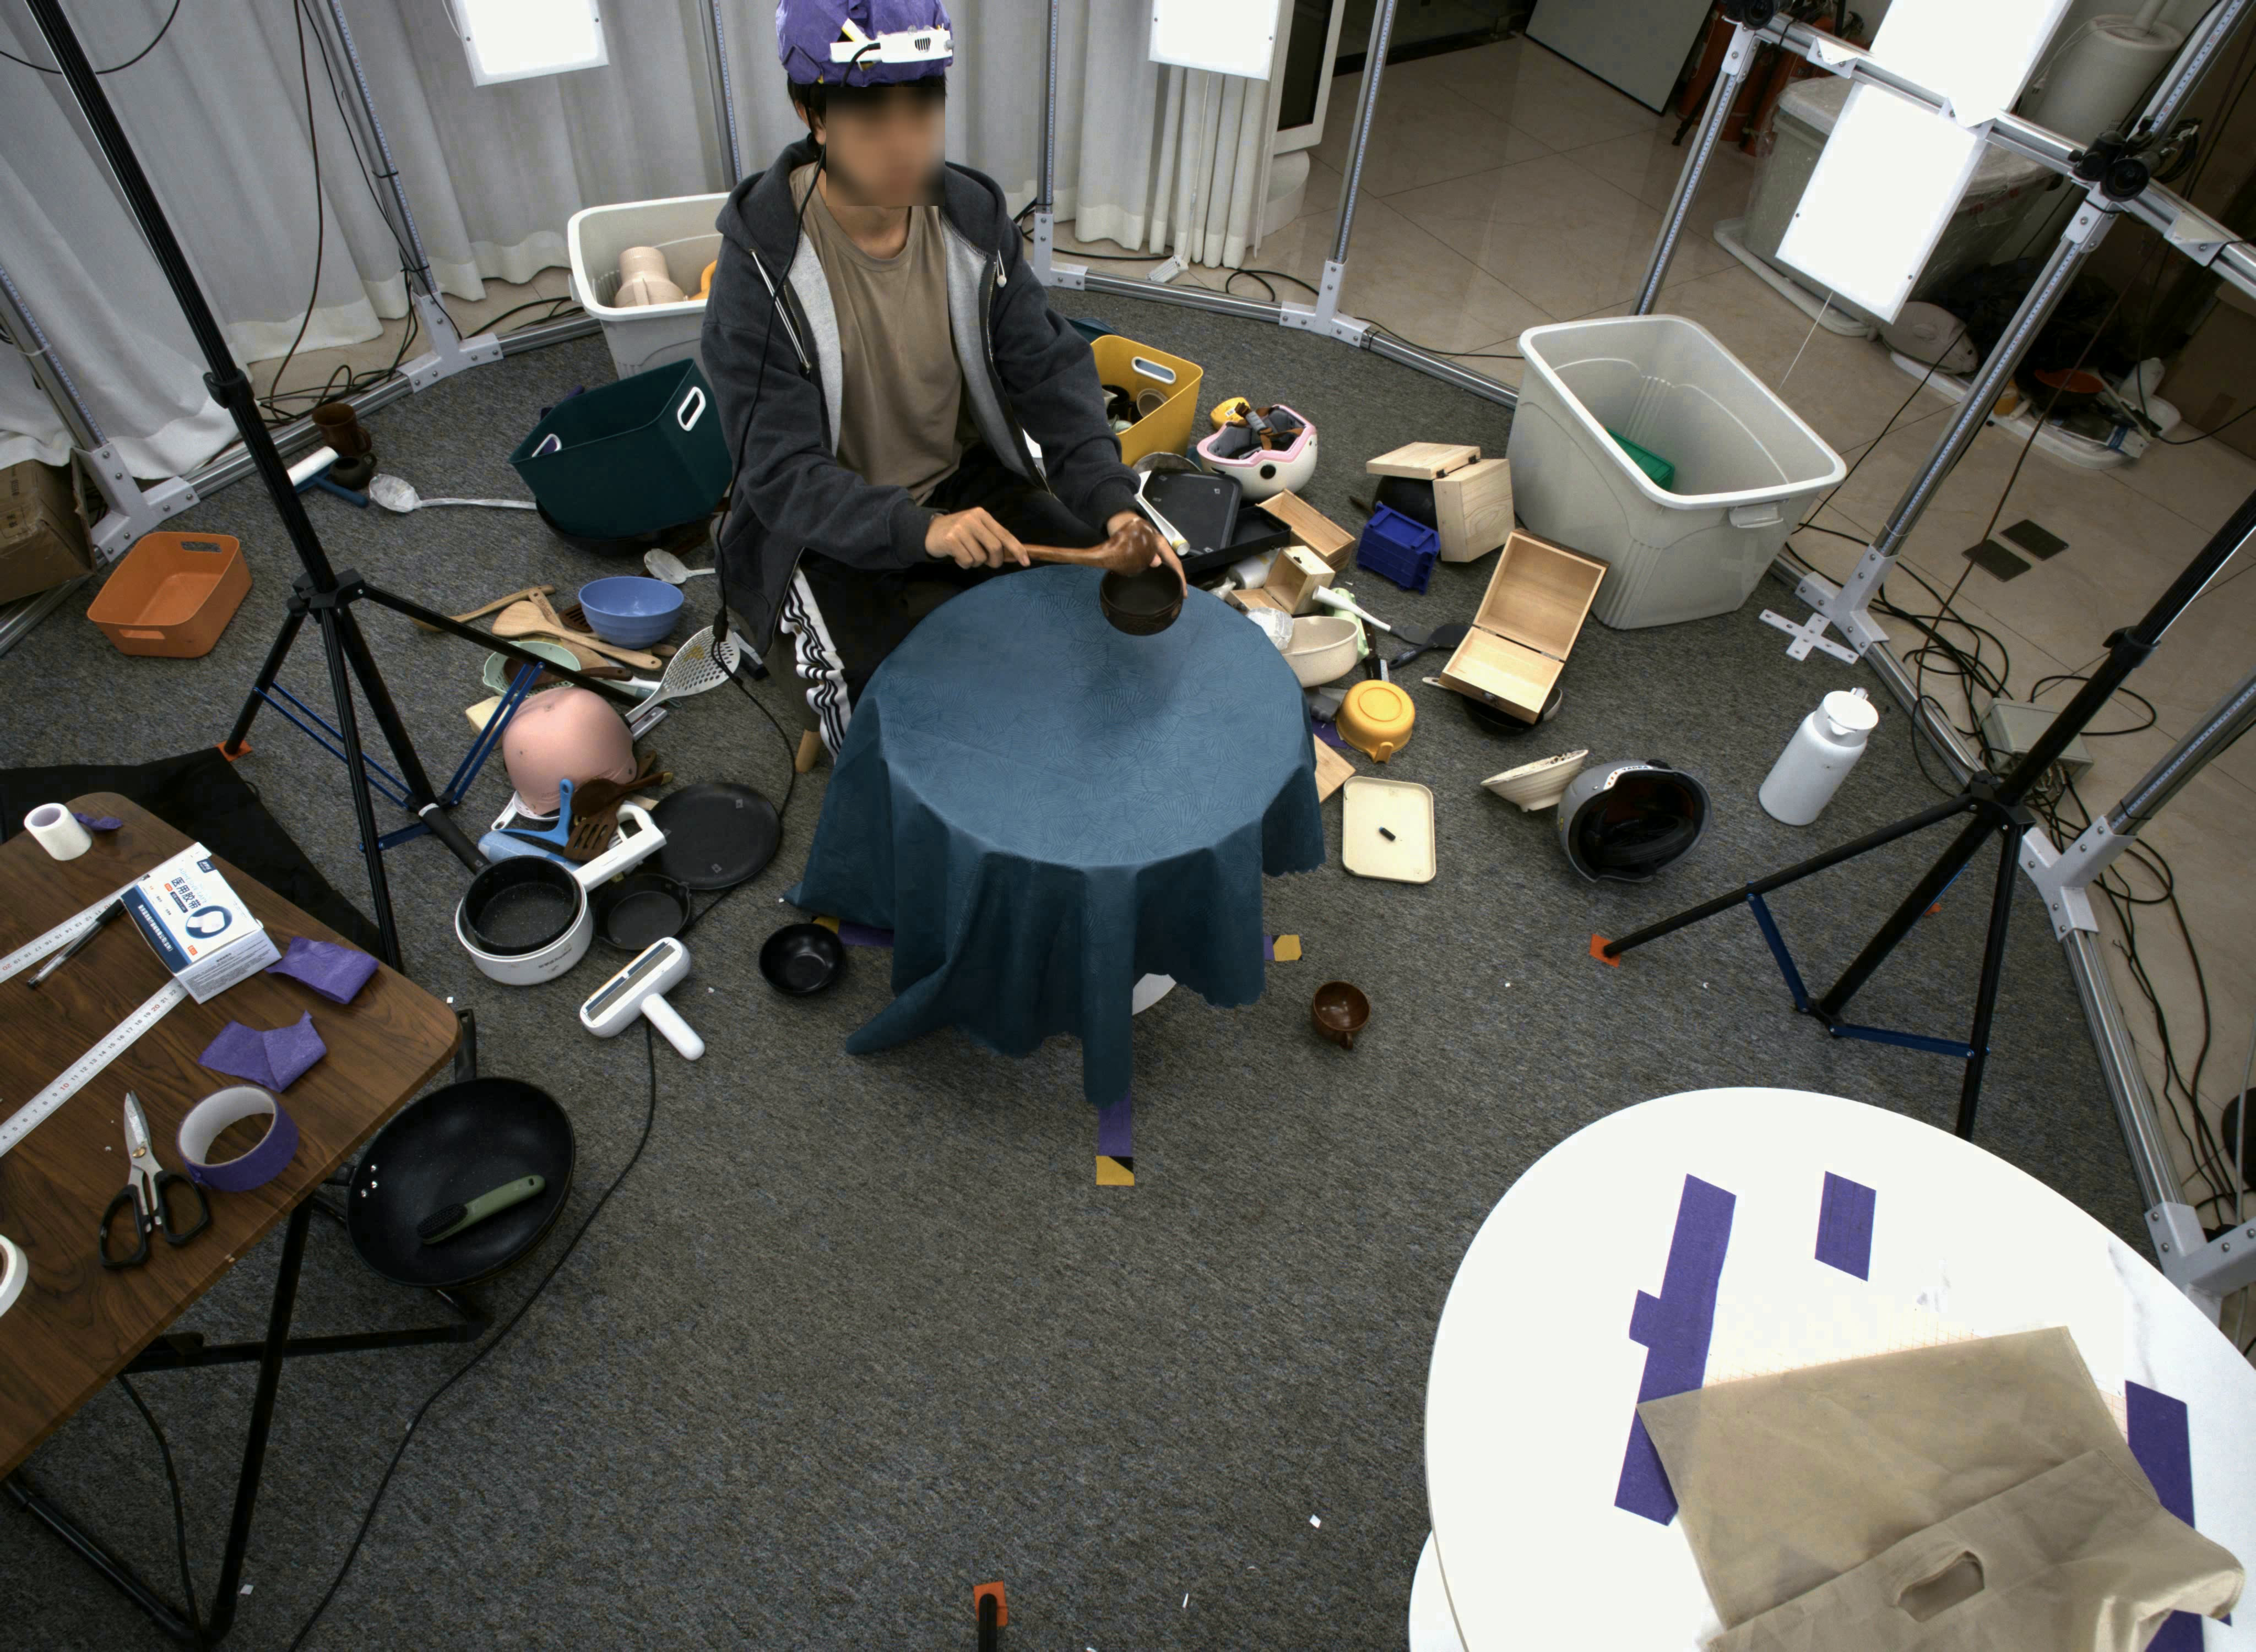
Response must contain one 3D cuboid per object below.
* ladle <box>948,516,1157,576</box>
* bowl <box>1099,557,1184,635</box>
[{"bbox_3d":[-0.098,-0.378,1.724,0.274,0.080,0.078,4,40,7],"label":"ladle"},{"bbox_3d":[0.020,-0.313,1.797,0.118,0.068,0.121,-2,52,2],"label":"bowl"}]
